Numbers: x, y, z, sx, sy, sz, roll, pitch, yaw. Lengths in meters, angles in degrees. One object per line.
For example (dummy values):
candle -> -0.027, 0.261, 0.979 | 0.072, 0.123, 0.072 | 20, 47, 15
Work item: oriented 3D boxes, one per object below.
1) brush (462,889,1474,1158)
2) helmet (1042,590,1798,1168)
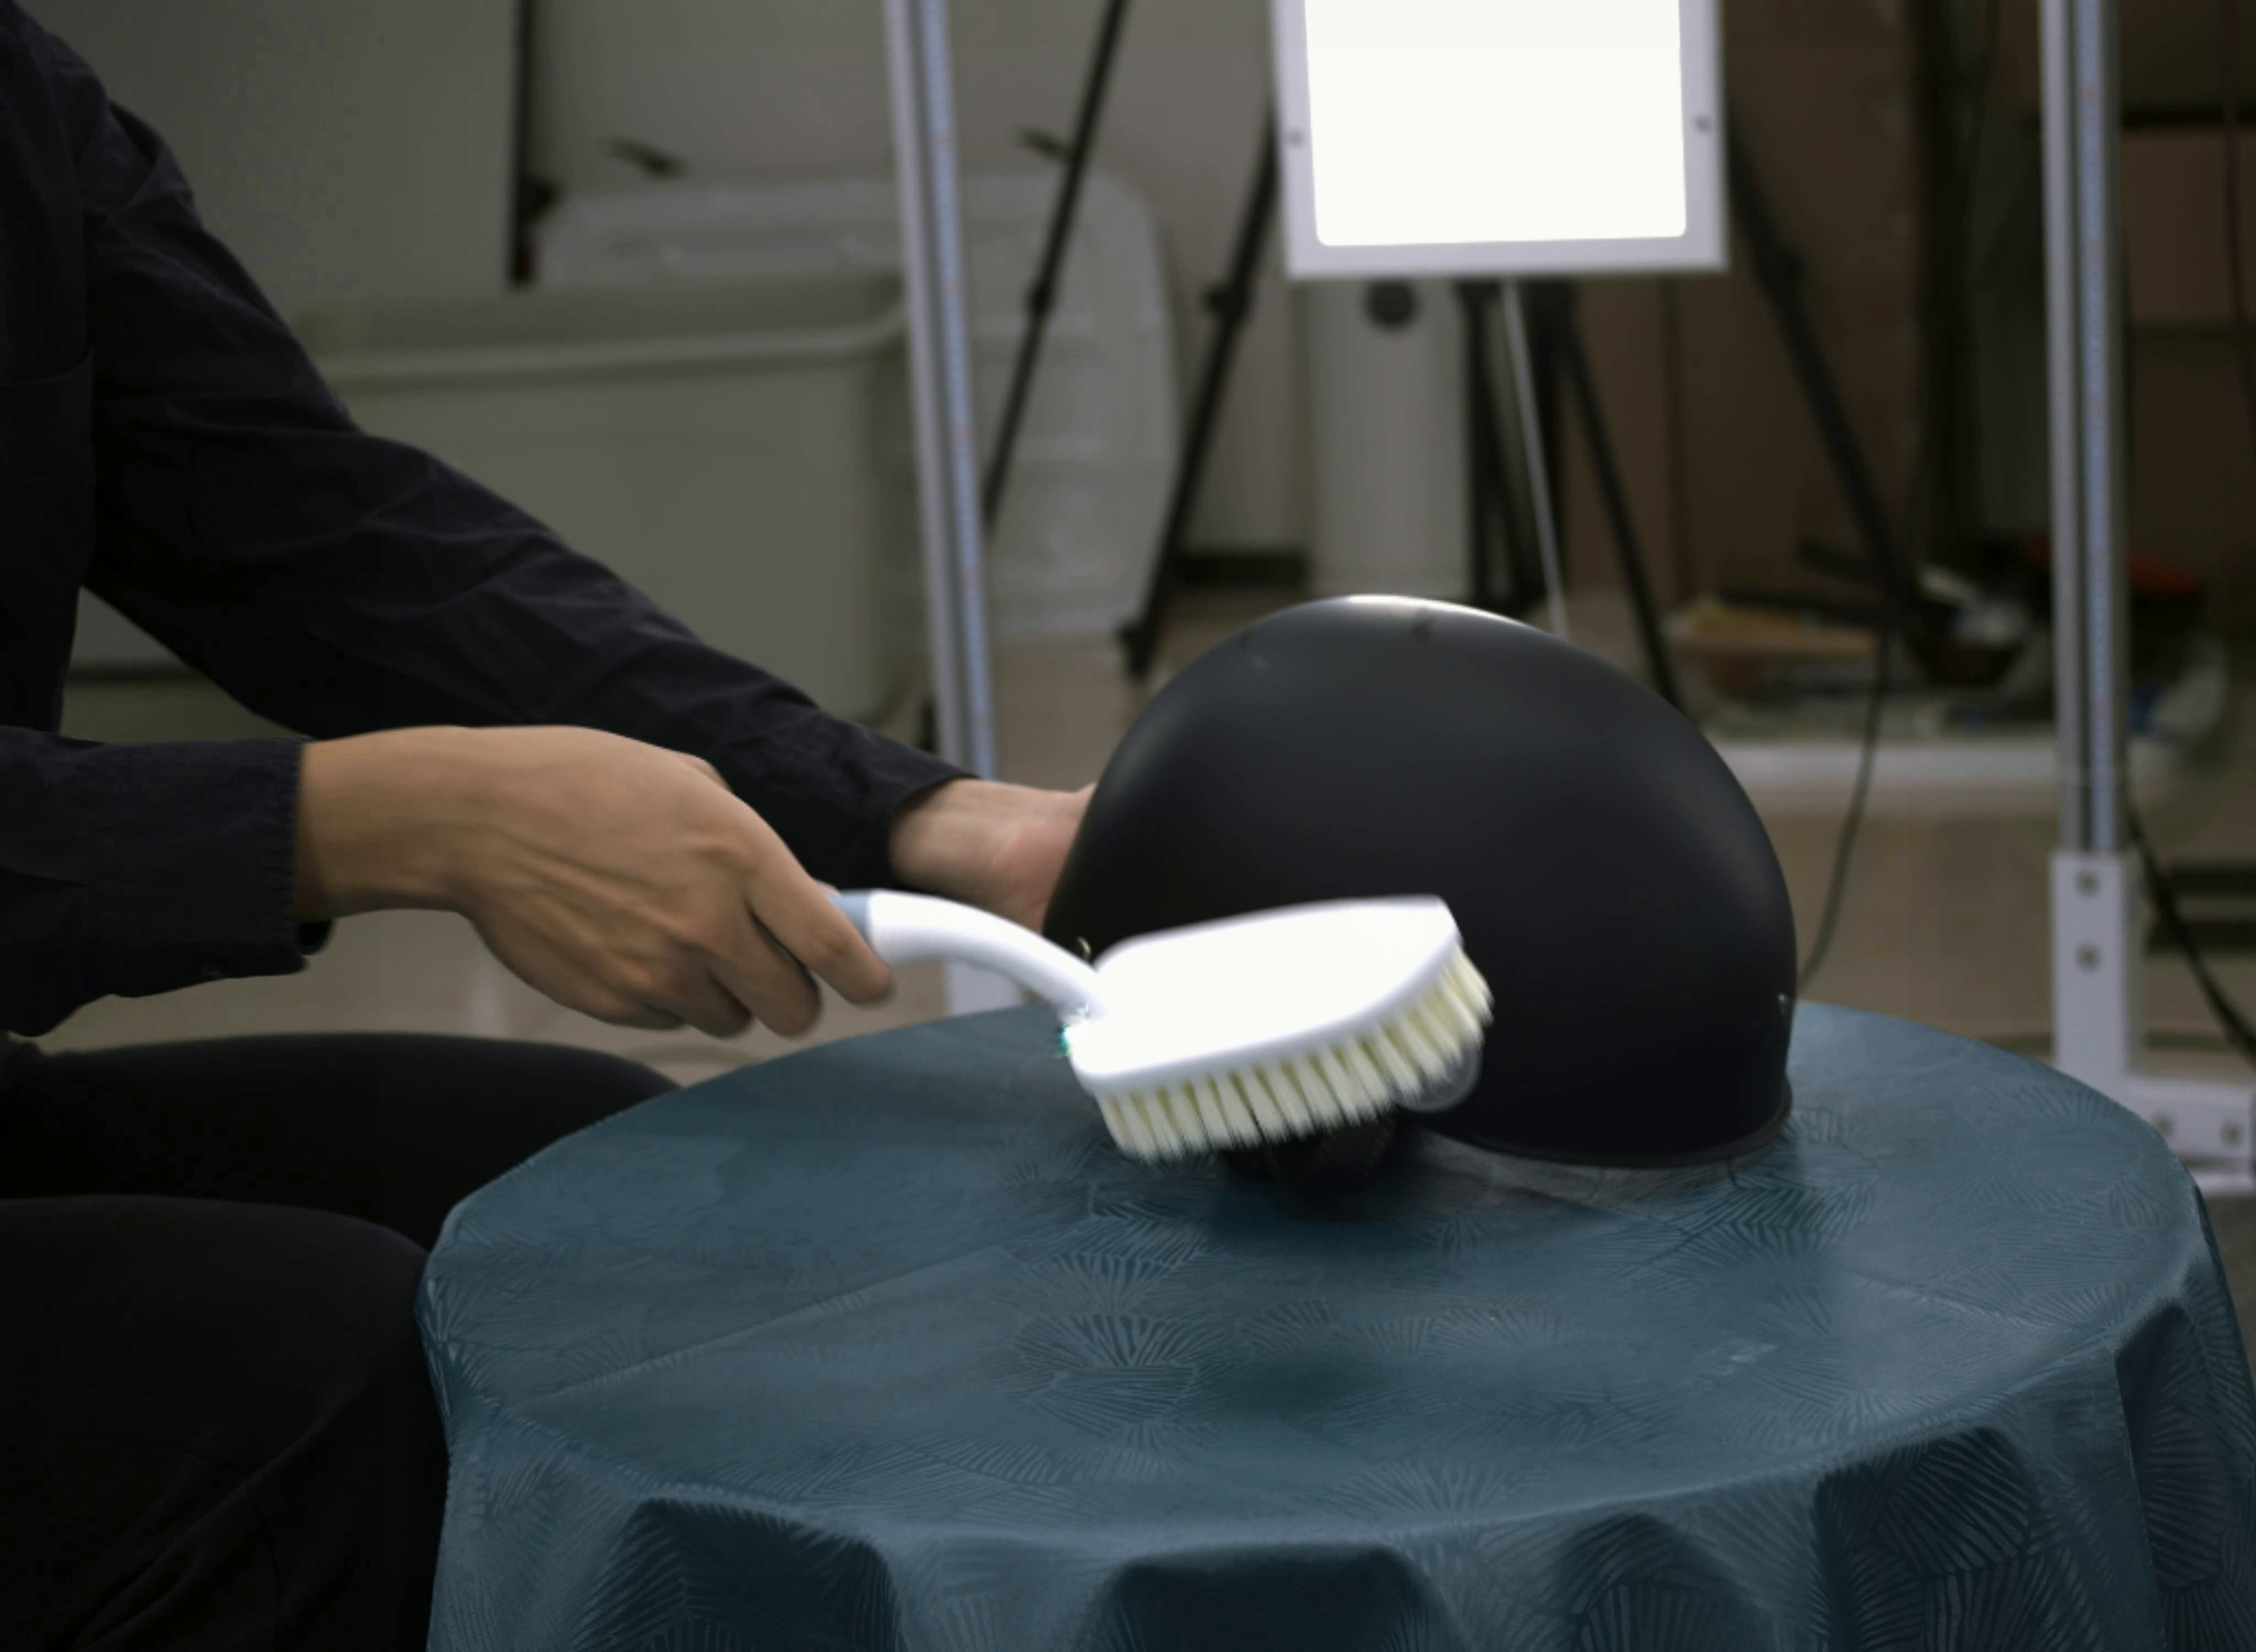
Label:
brush -> -0.051, 0.062, 1.744 | 0.328, 0.085, 0.082 | 0, 0, 16
helmet -> 0.109, 0.007, 1.909 | 0.277, 0.168, 0.225 | 14, 22, 23
